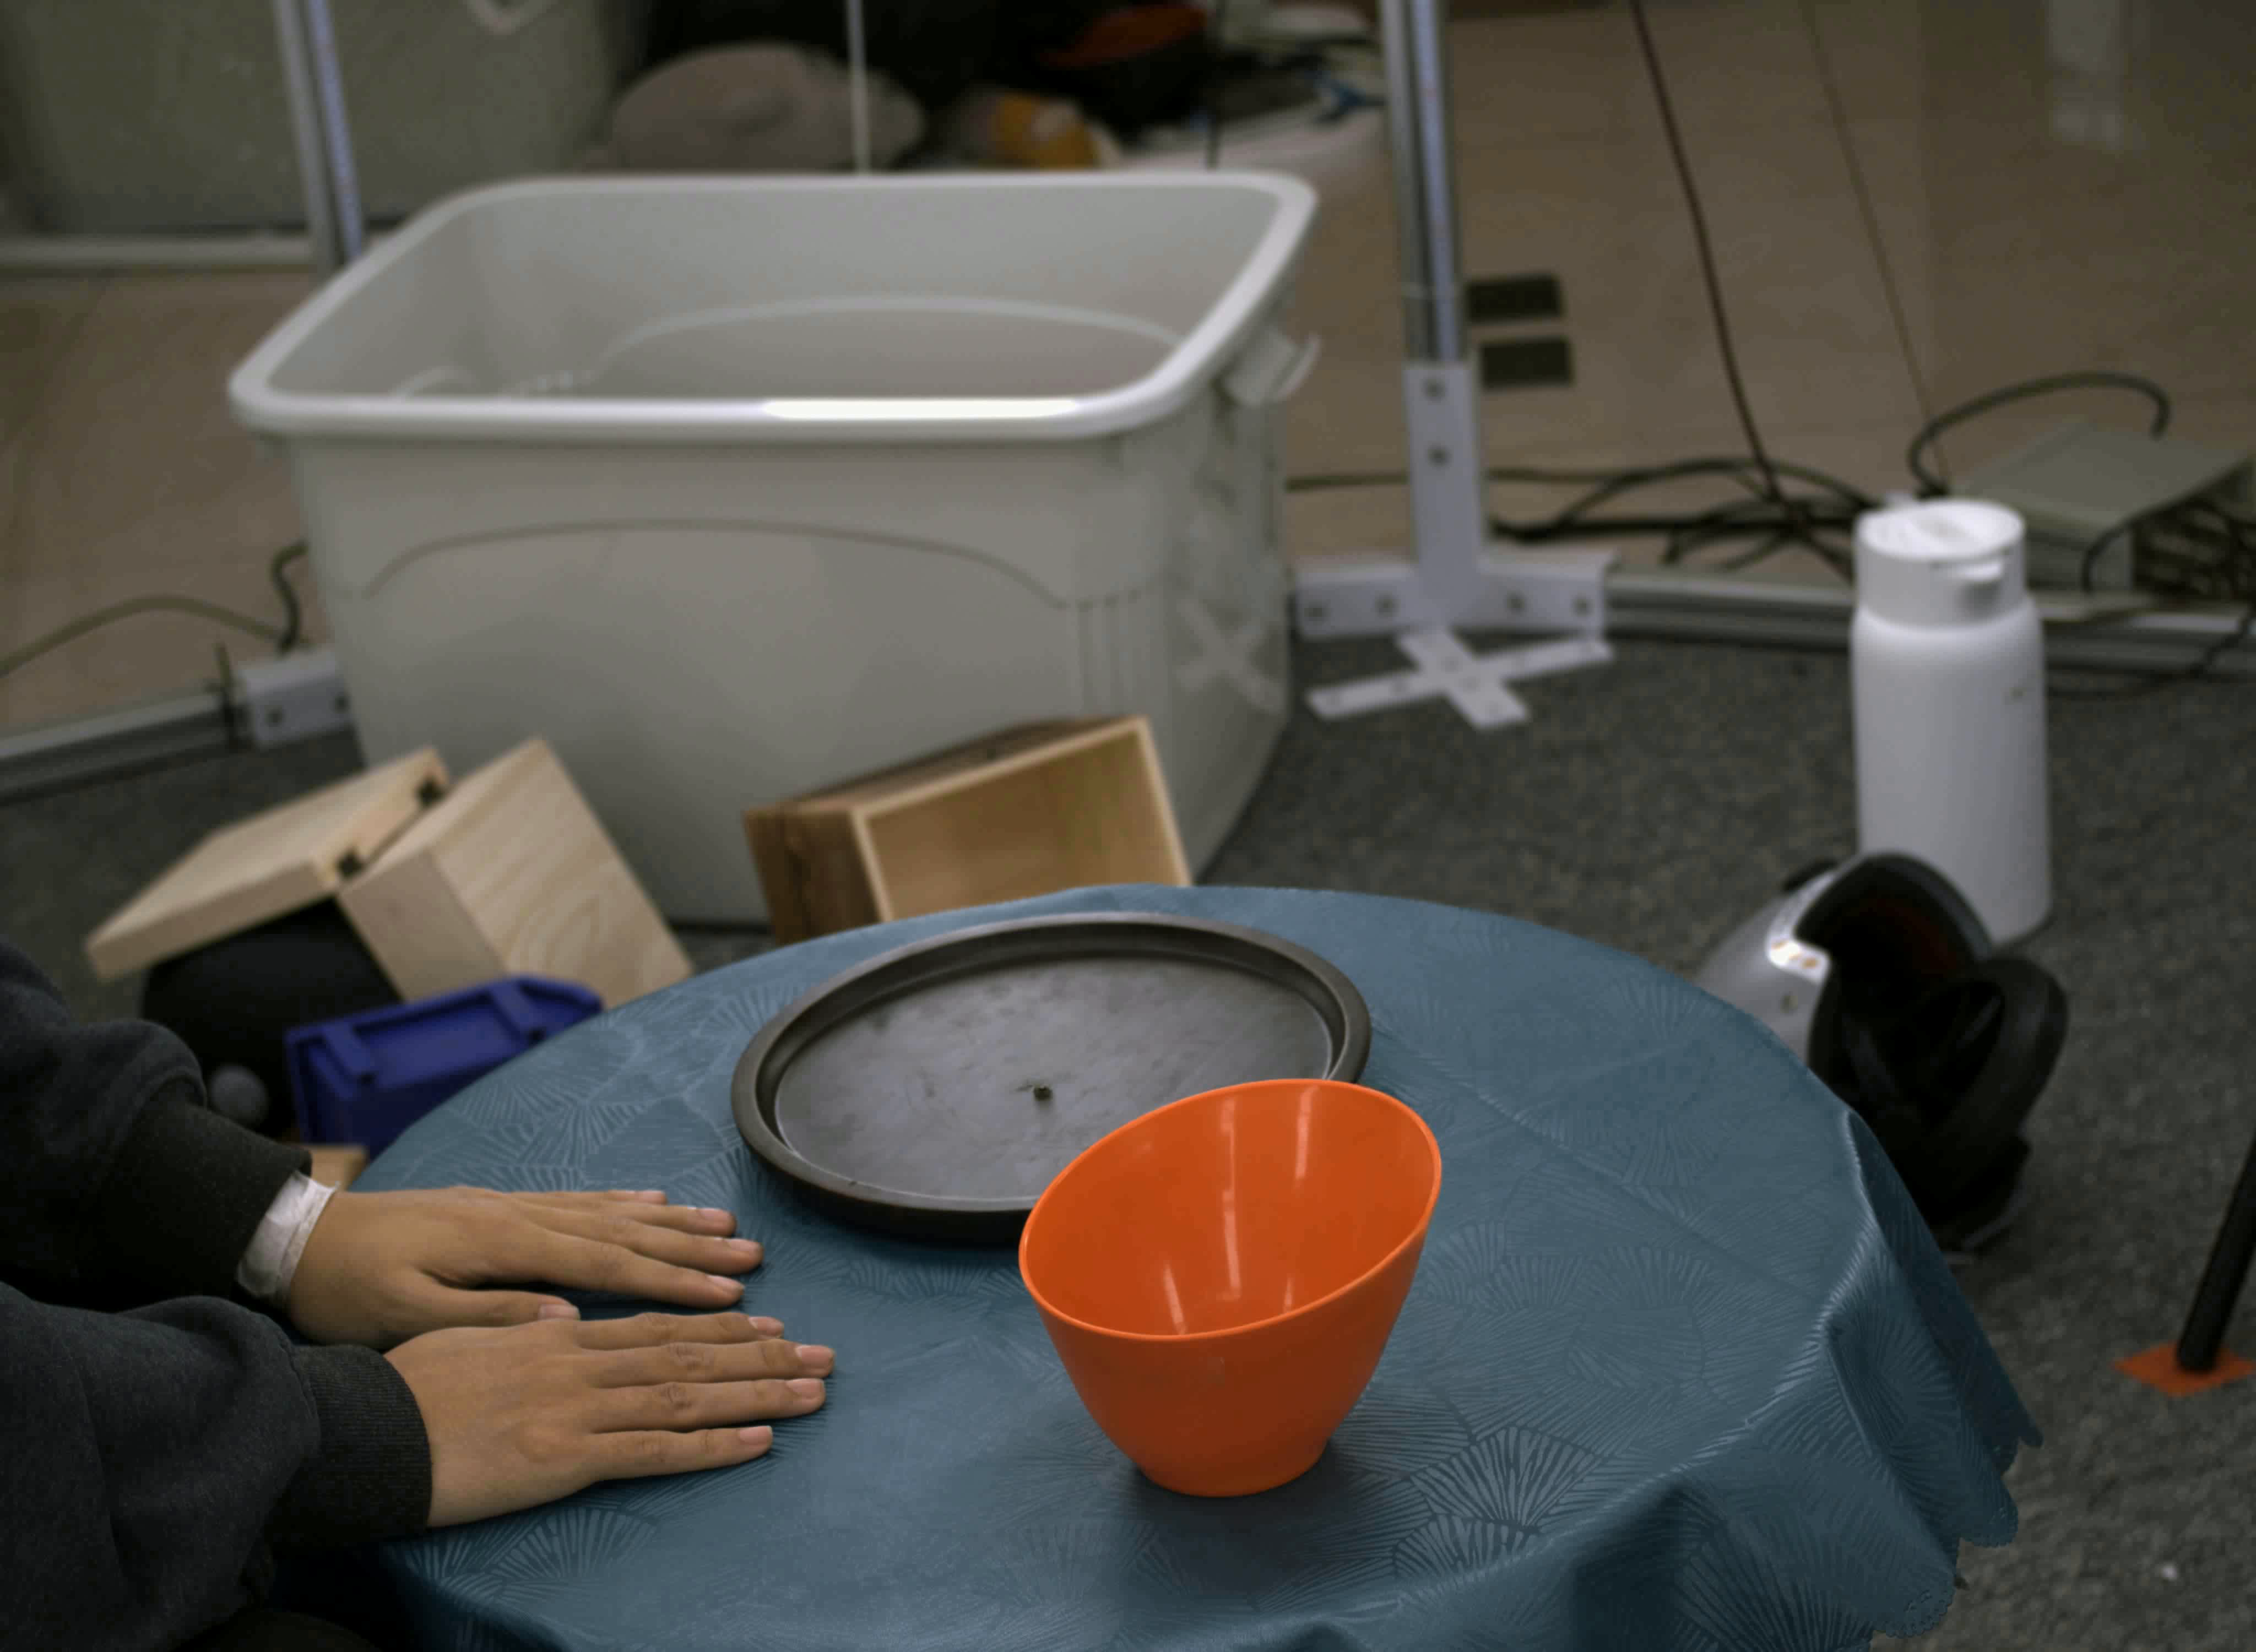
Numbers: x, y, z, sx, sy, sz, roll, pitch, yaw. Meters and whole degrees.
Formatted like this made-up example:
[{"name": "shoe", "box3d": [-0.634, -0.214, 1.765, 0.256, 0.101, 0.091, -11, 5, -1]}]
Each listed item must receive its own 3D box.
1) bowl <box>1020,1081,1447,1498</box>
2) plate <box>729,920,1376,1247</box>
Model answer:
[{"name": "bowl", "box3d": [0.039, 0.167, 1.955, 0.148, 0.106, 0.146, -4, 27, 2]}, {"name": "plate", "box3d": [-0.029, 0.098, 2.214, 0.254, 0.029, 0.251, -5, 26, 2]}]
